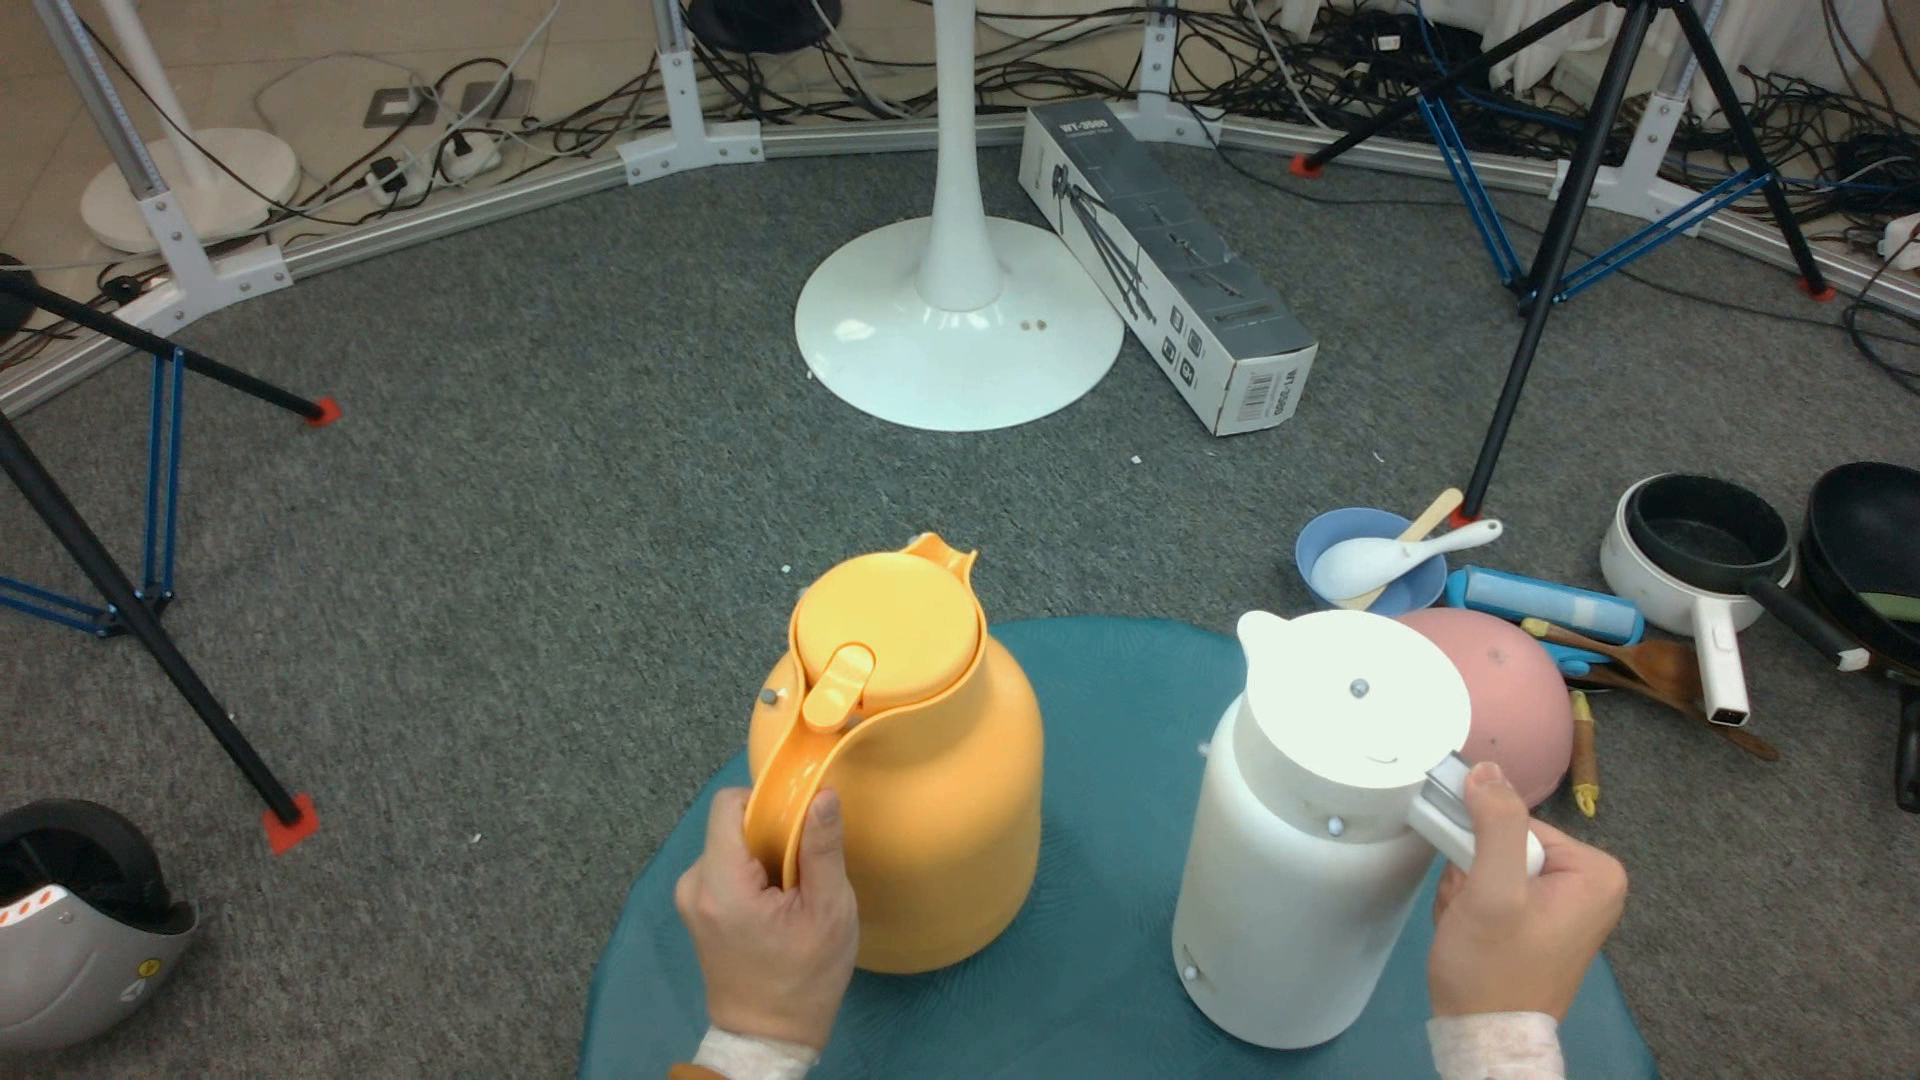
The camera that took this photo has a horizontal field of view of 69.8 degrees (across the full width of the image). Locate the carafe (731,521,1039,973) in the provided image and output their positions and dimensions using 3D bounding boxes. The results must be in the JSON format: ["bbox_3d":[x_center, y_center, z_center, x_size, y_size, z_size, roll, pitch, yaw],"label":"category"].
[{"bbox_3d":[-0.048,0.126,0.743,0.163,0.259,0.203,22,51,22],"label":"carafe"}]

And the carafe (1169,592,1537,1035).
[{"bbox_3d":[0.191,0.160,0.710,0.124,0.267,0.173,-31,54,-27],"label":"carafe"}]
